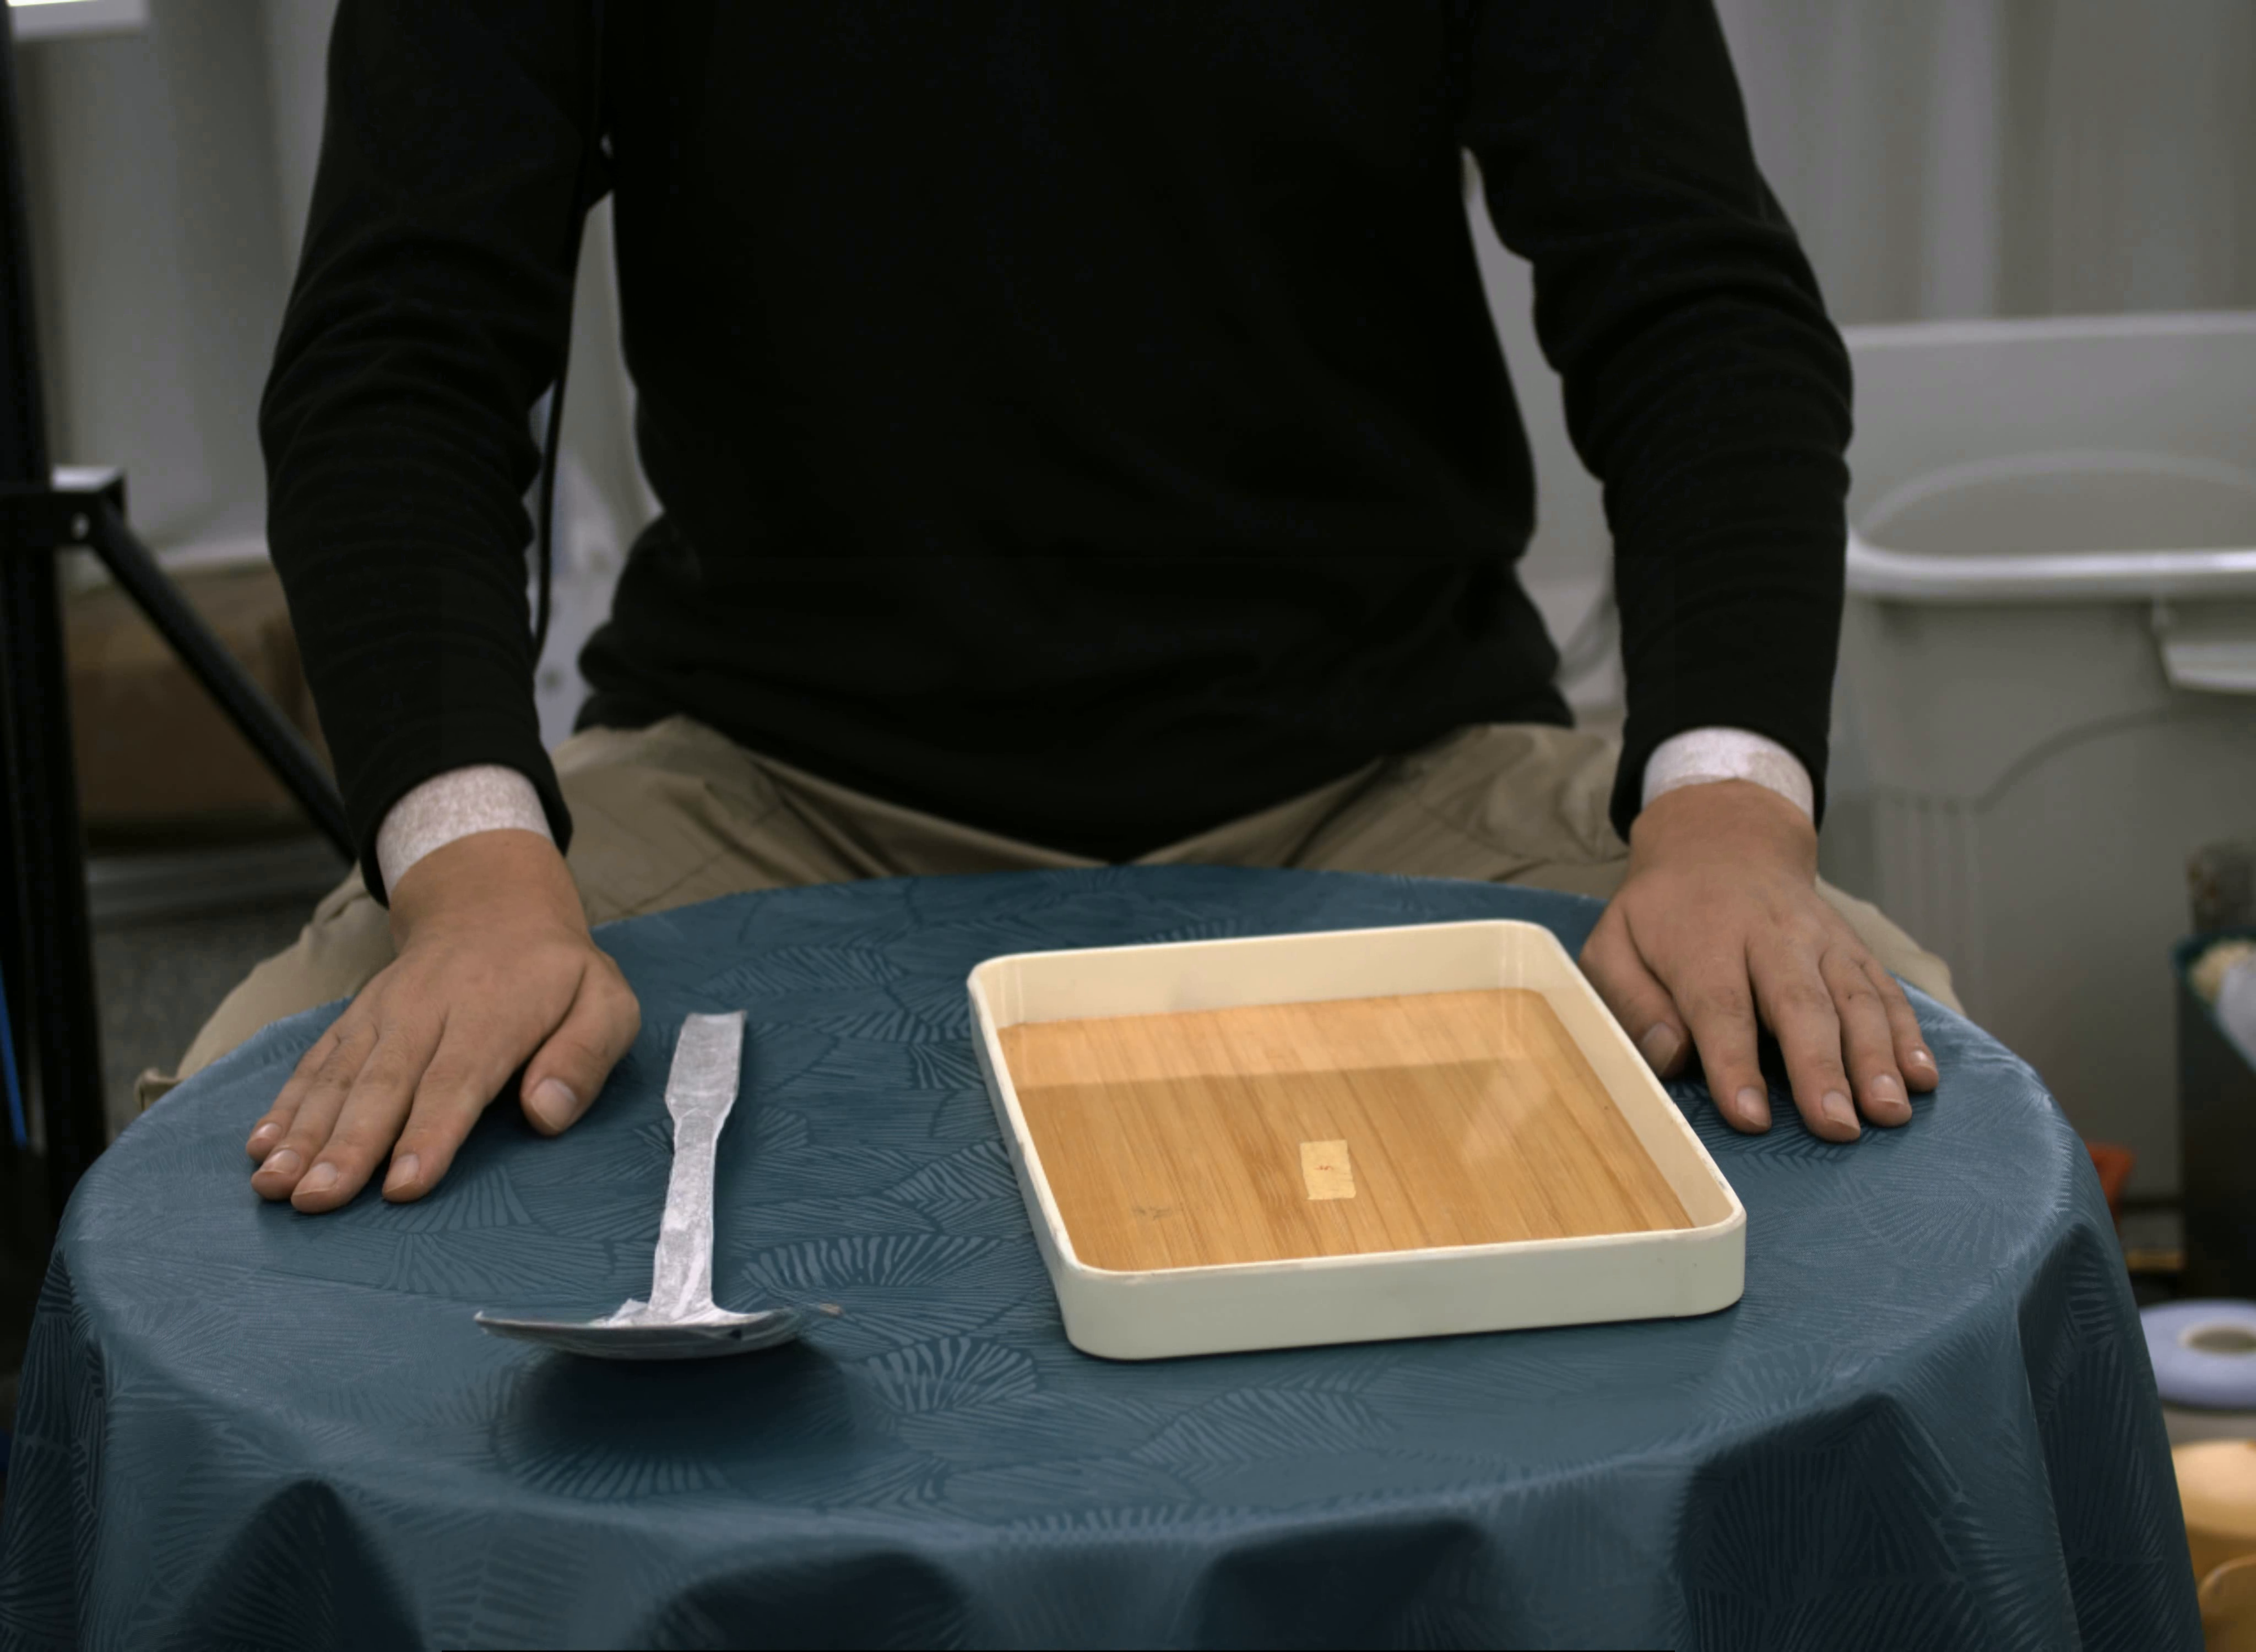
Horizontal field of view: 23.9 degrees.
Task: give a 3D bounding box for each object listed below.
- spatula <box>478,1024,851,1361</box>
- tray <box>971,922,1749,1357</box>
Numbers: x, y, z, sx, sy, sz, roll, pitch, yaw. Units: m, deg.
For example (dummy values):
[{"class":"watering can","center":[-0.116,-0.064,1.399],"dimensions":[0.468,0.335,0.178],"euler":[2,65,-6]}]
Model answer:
[{"class":"spatula","center":[-0.124,0.097,1.546],"dimensions":[0.098,0.045,0.366],"euler":[-3,16,-1]},{"class":"tray","center":[0.060,0.088,1.568],"dimensions":[0.190,0.027,0.303],"euler":[-4,16,-5]}]
